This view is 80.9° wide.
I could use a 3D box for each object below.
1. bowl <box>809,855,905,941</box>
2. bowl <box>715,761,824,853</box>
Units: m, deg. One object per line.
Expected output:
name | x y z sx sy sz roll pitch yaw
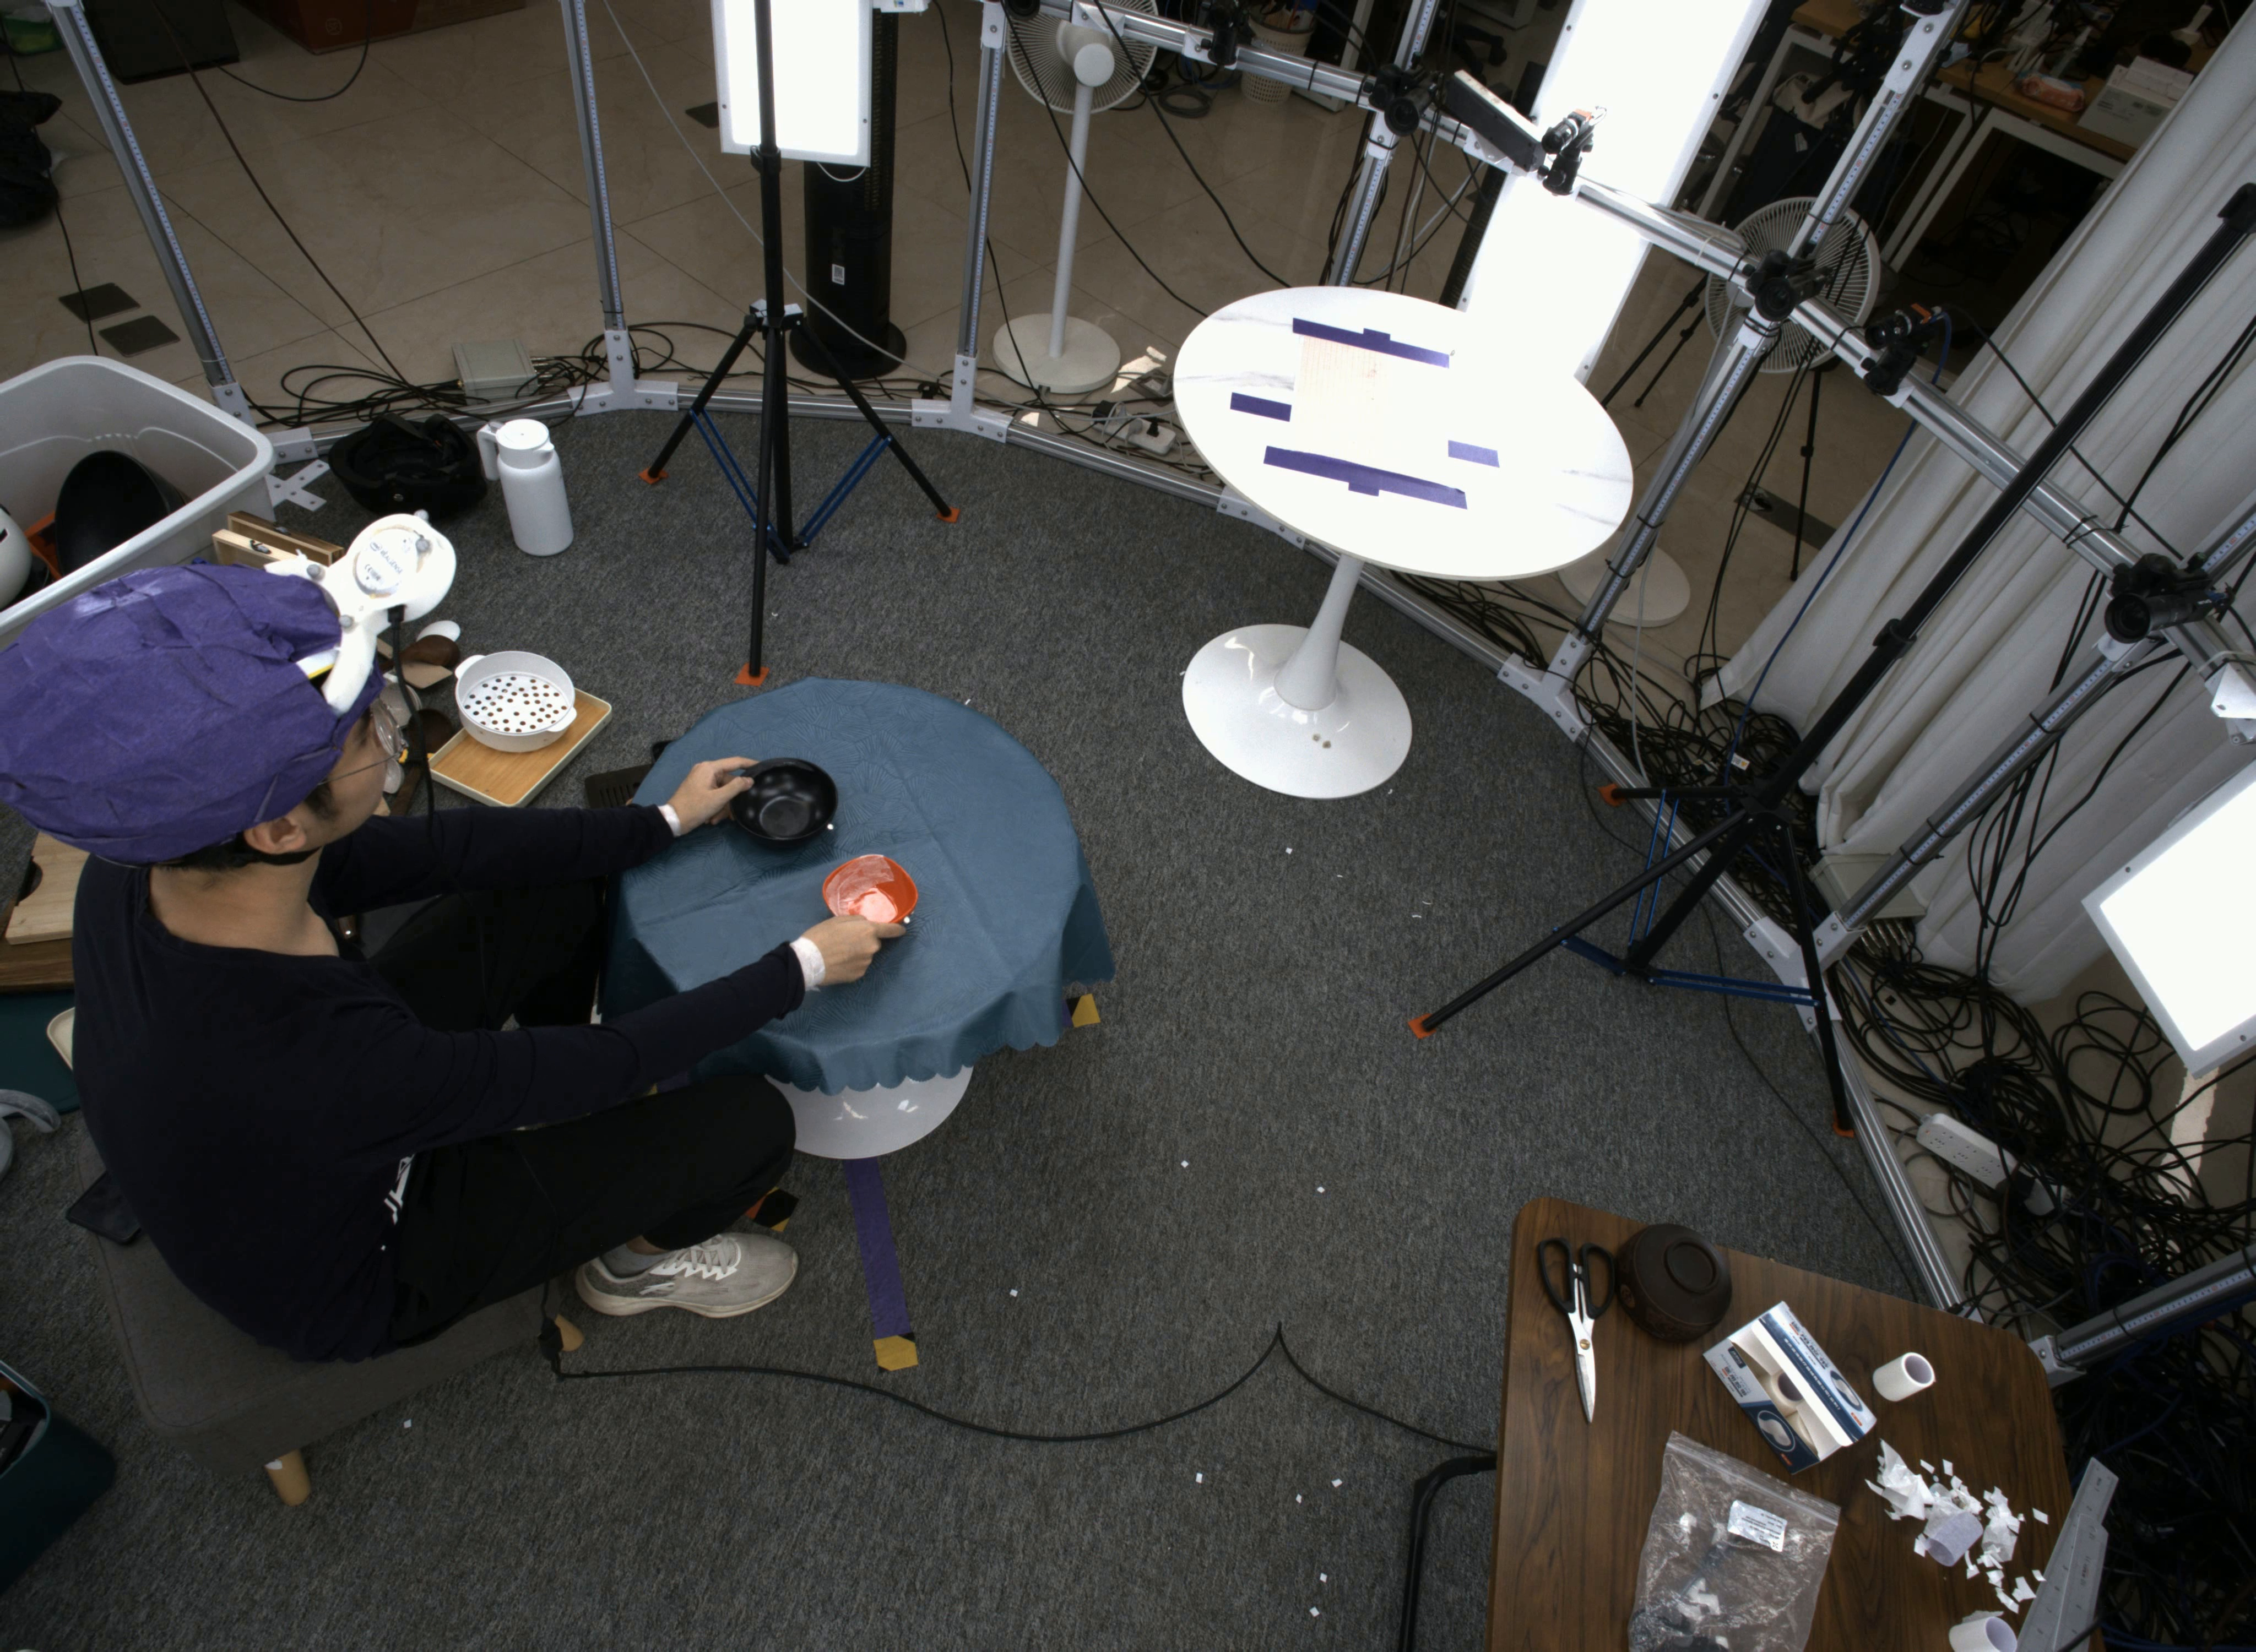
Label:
bowl | -0.344 0.098 1.649 0.119 0.052 0.117 9 51 -10
bowl | -0.470 -0.018 1.707 0.139 0.051 0.138 6 56 -6
